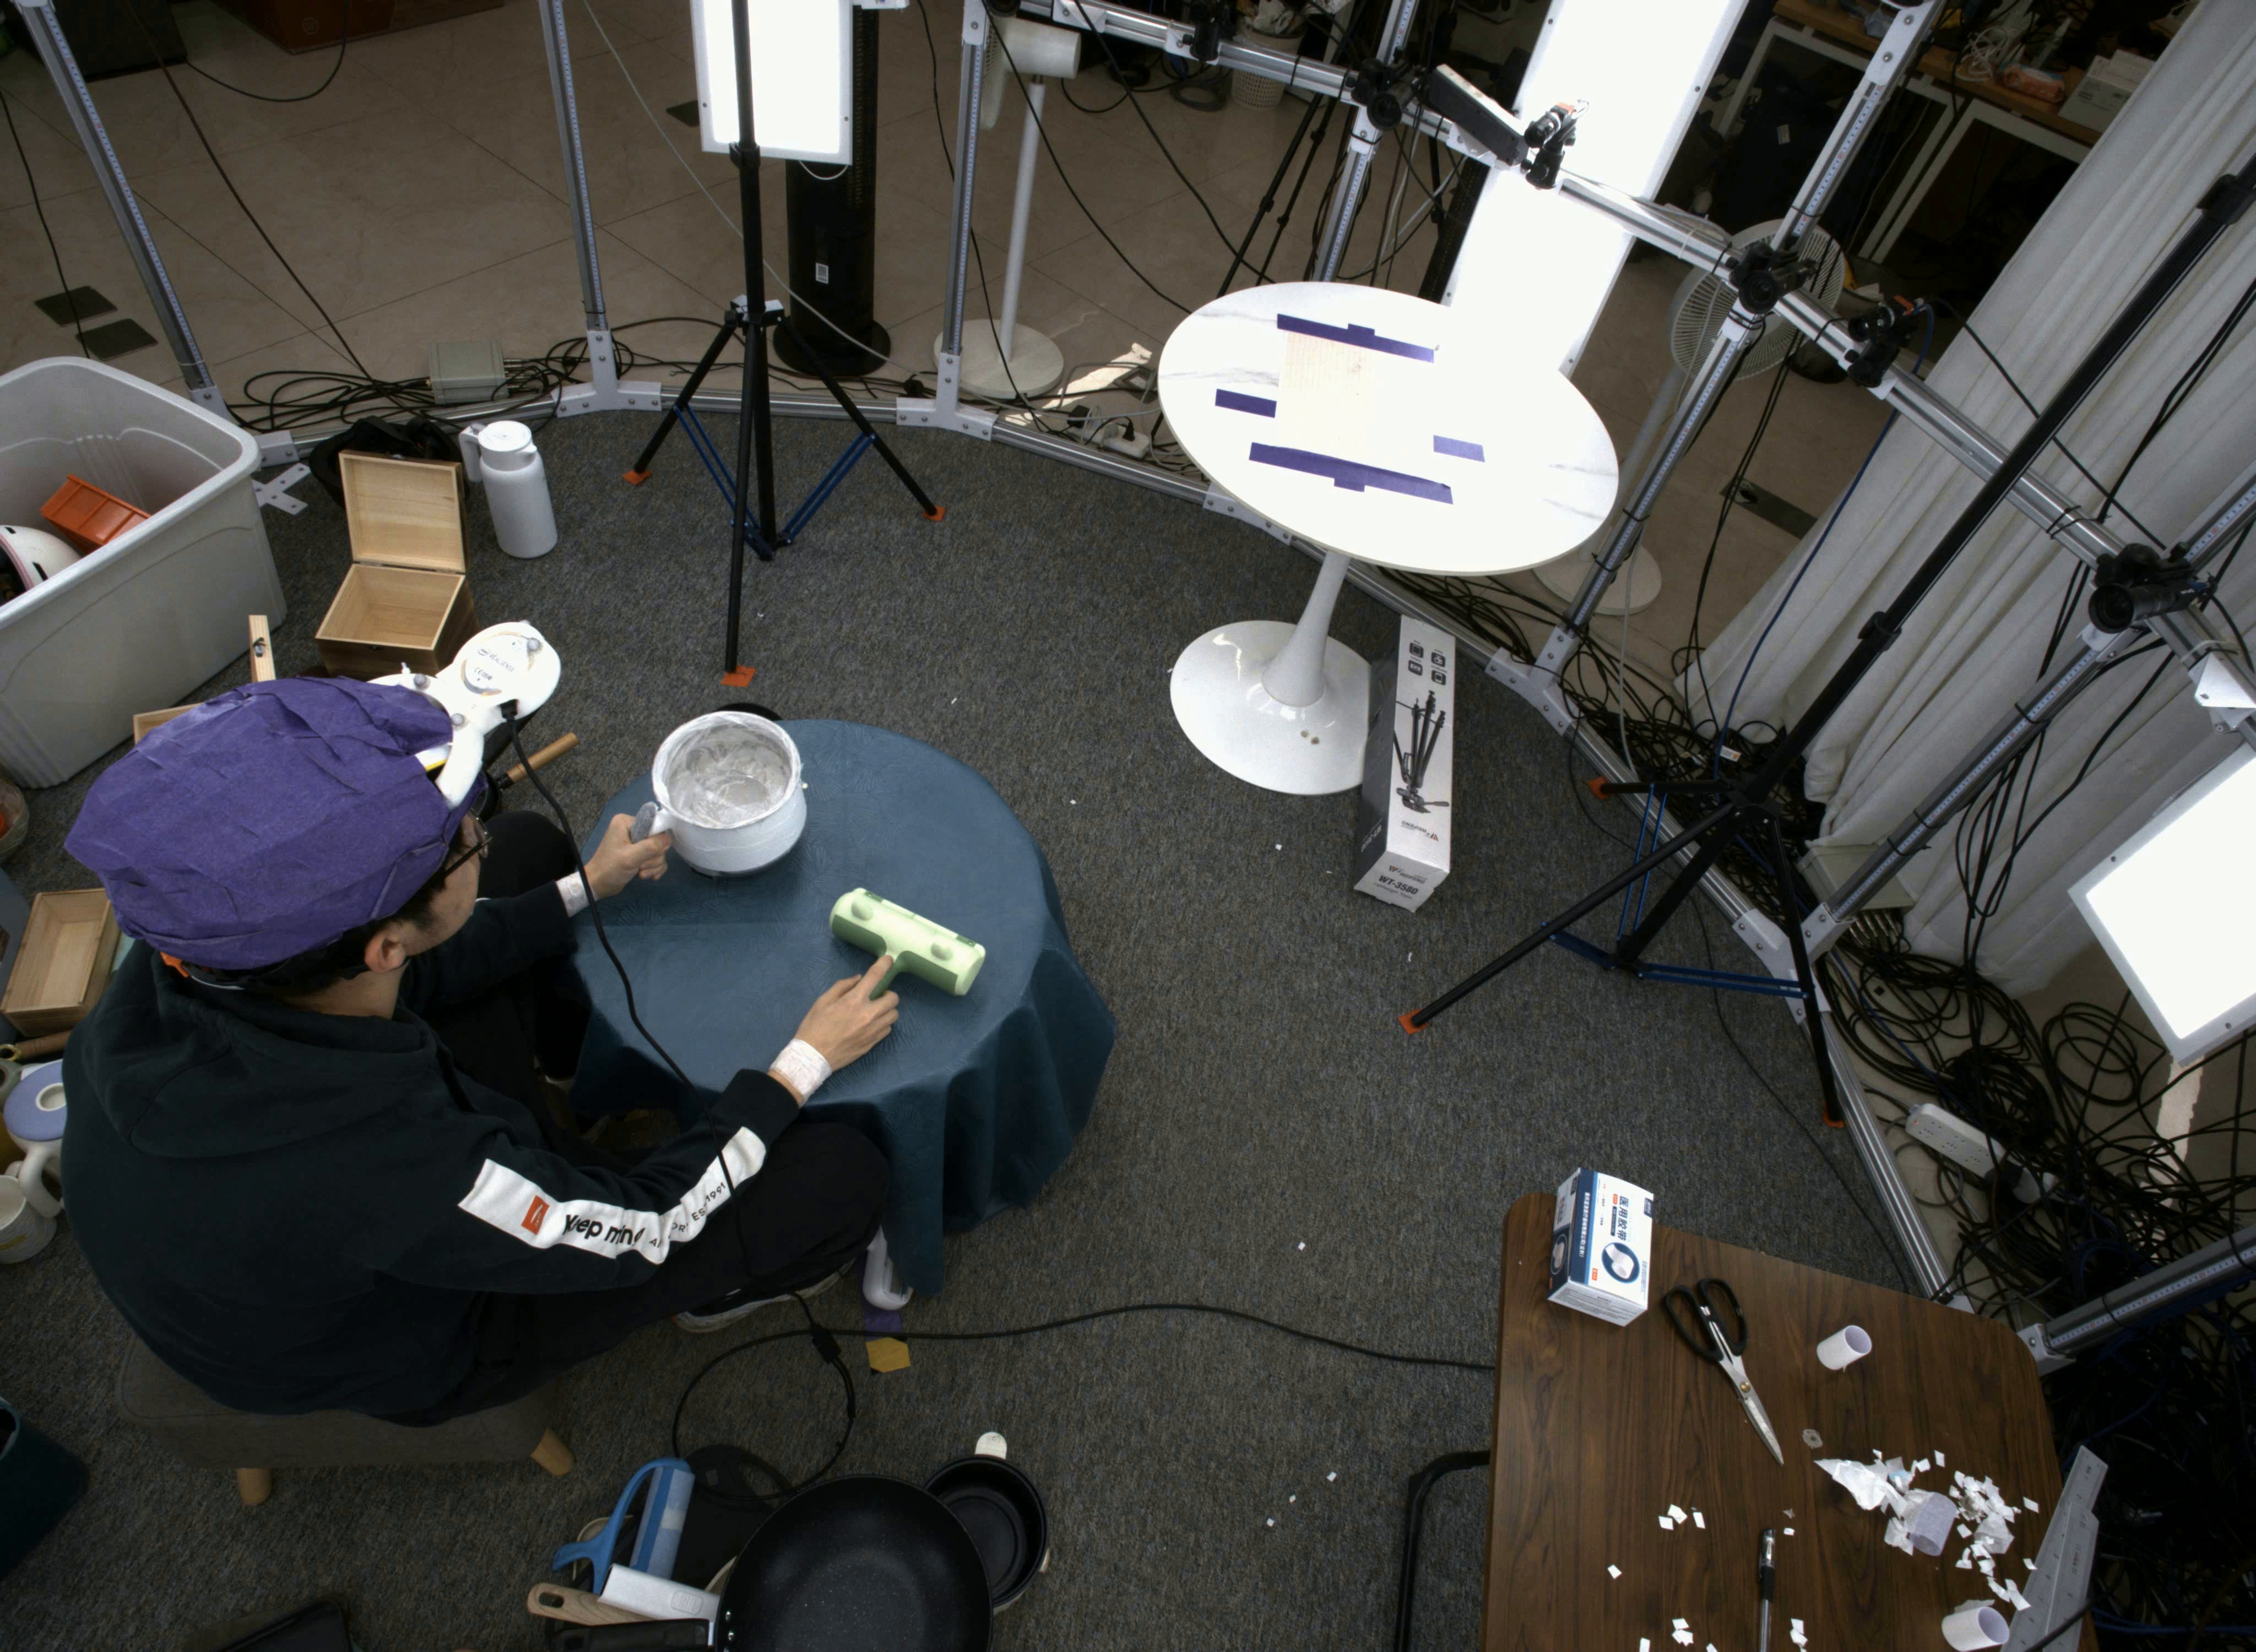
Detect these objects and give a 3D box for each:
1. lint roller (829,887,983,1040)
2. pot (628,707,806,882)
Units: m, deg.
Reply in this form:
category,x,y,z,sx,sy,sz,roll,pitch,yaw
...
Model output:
category,x,y,z,sx,sy,sz,roll,pitch,yaw
lint roller,-0.301,0.170,1.569,0.194,0.084,0.182,25,49,12
pot,-0.517,-0.024,1.604,0.234,0.139,0.175,-33,68,-27
